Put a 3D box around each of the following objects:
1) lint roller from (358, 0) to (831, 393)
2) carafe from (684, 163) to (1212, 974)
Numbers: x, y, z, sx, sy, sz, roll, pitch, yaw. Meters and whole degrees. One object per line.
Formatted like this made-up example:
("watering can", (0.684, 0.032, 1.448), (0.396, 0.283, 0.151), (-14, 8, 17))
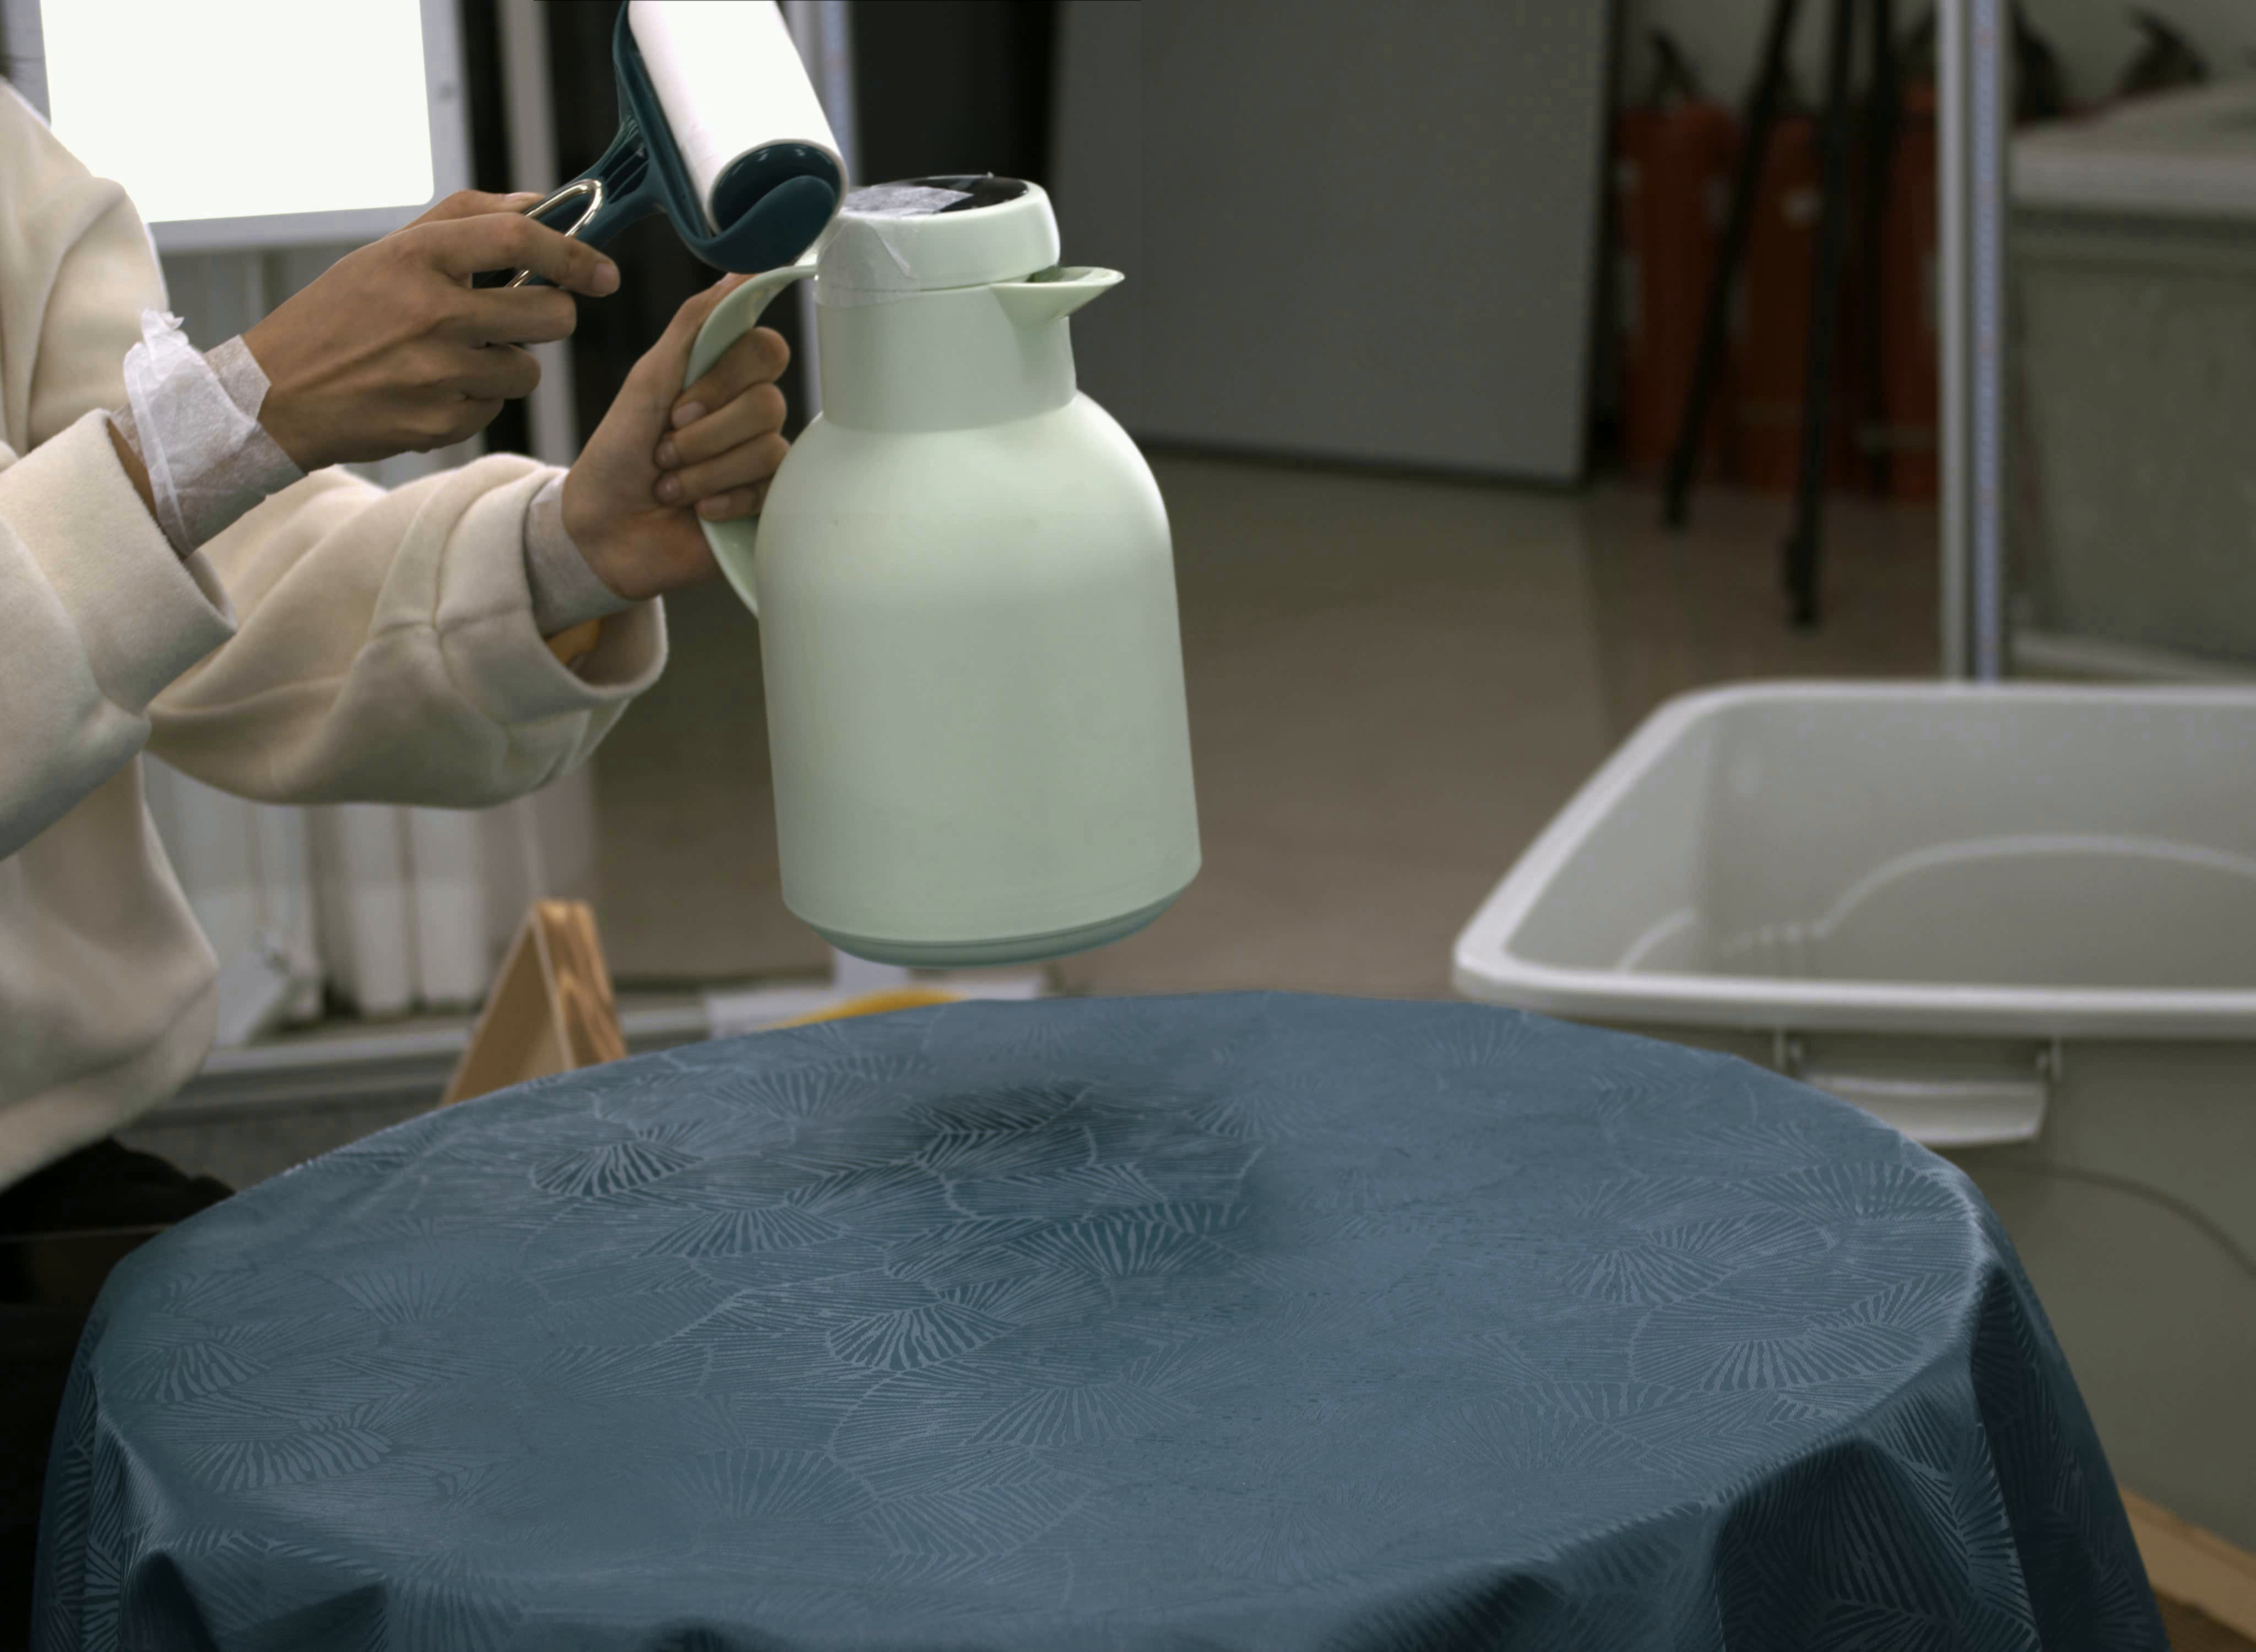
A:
("lint roller", (-0.183, -0.202, 1.732), (0.180, 0.048, 0.136), (-31, 48, 11))
("carafe", (-0.065, -0.091, 1.823), (0.188, 0.259, 0.142), (3, 19, 38))
